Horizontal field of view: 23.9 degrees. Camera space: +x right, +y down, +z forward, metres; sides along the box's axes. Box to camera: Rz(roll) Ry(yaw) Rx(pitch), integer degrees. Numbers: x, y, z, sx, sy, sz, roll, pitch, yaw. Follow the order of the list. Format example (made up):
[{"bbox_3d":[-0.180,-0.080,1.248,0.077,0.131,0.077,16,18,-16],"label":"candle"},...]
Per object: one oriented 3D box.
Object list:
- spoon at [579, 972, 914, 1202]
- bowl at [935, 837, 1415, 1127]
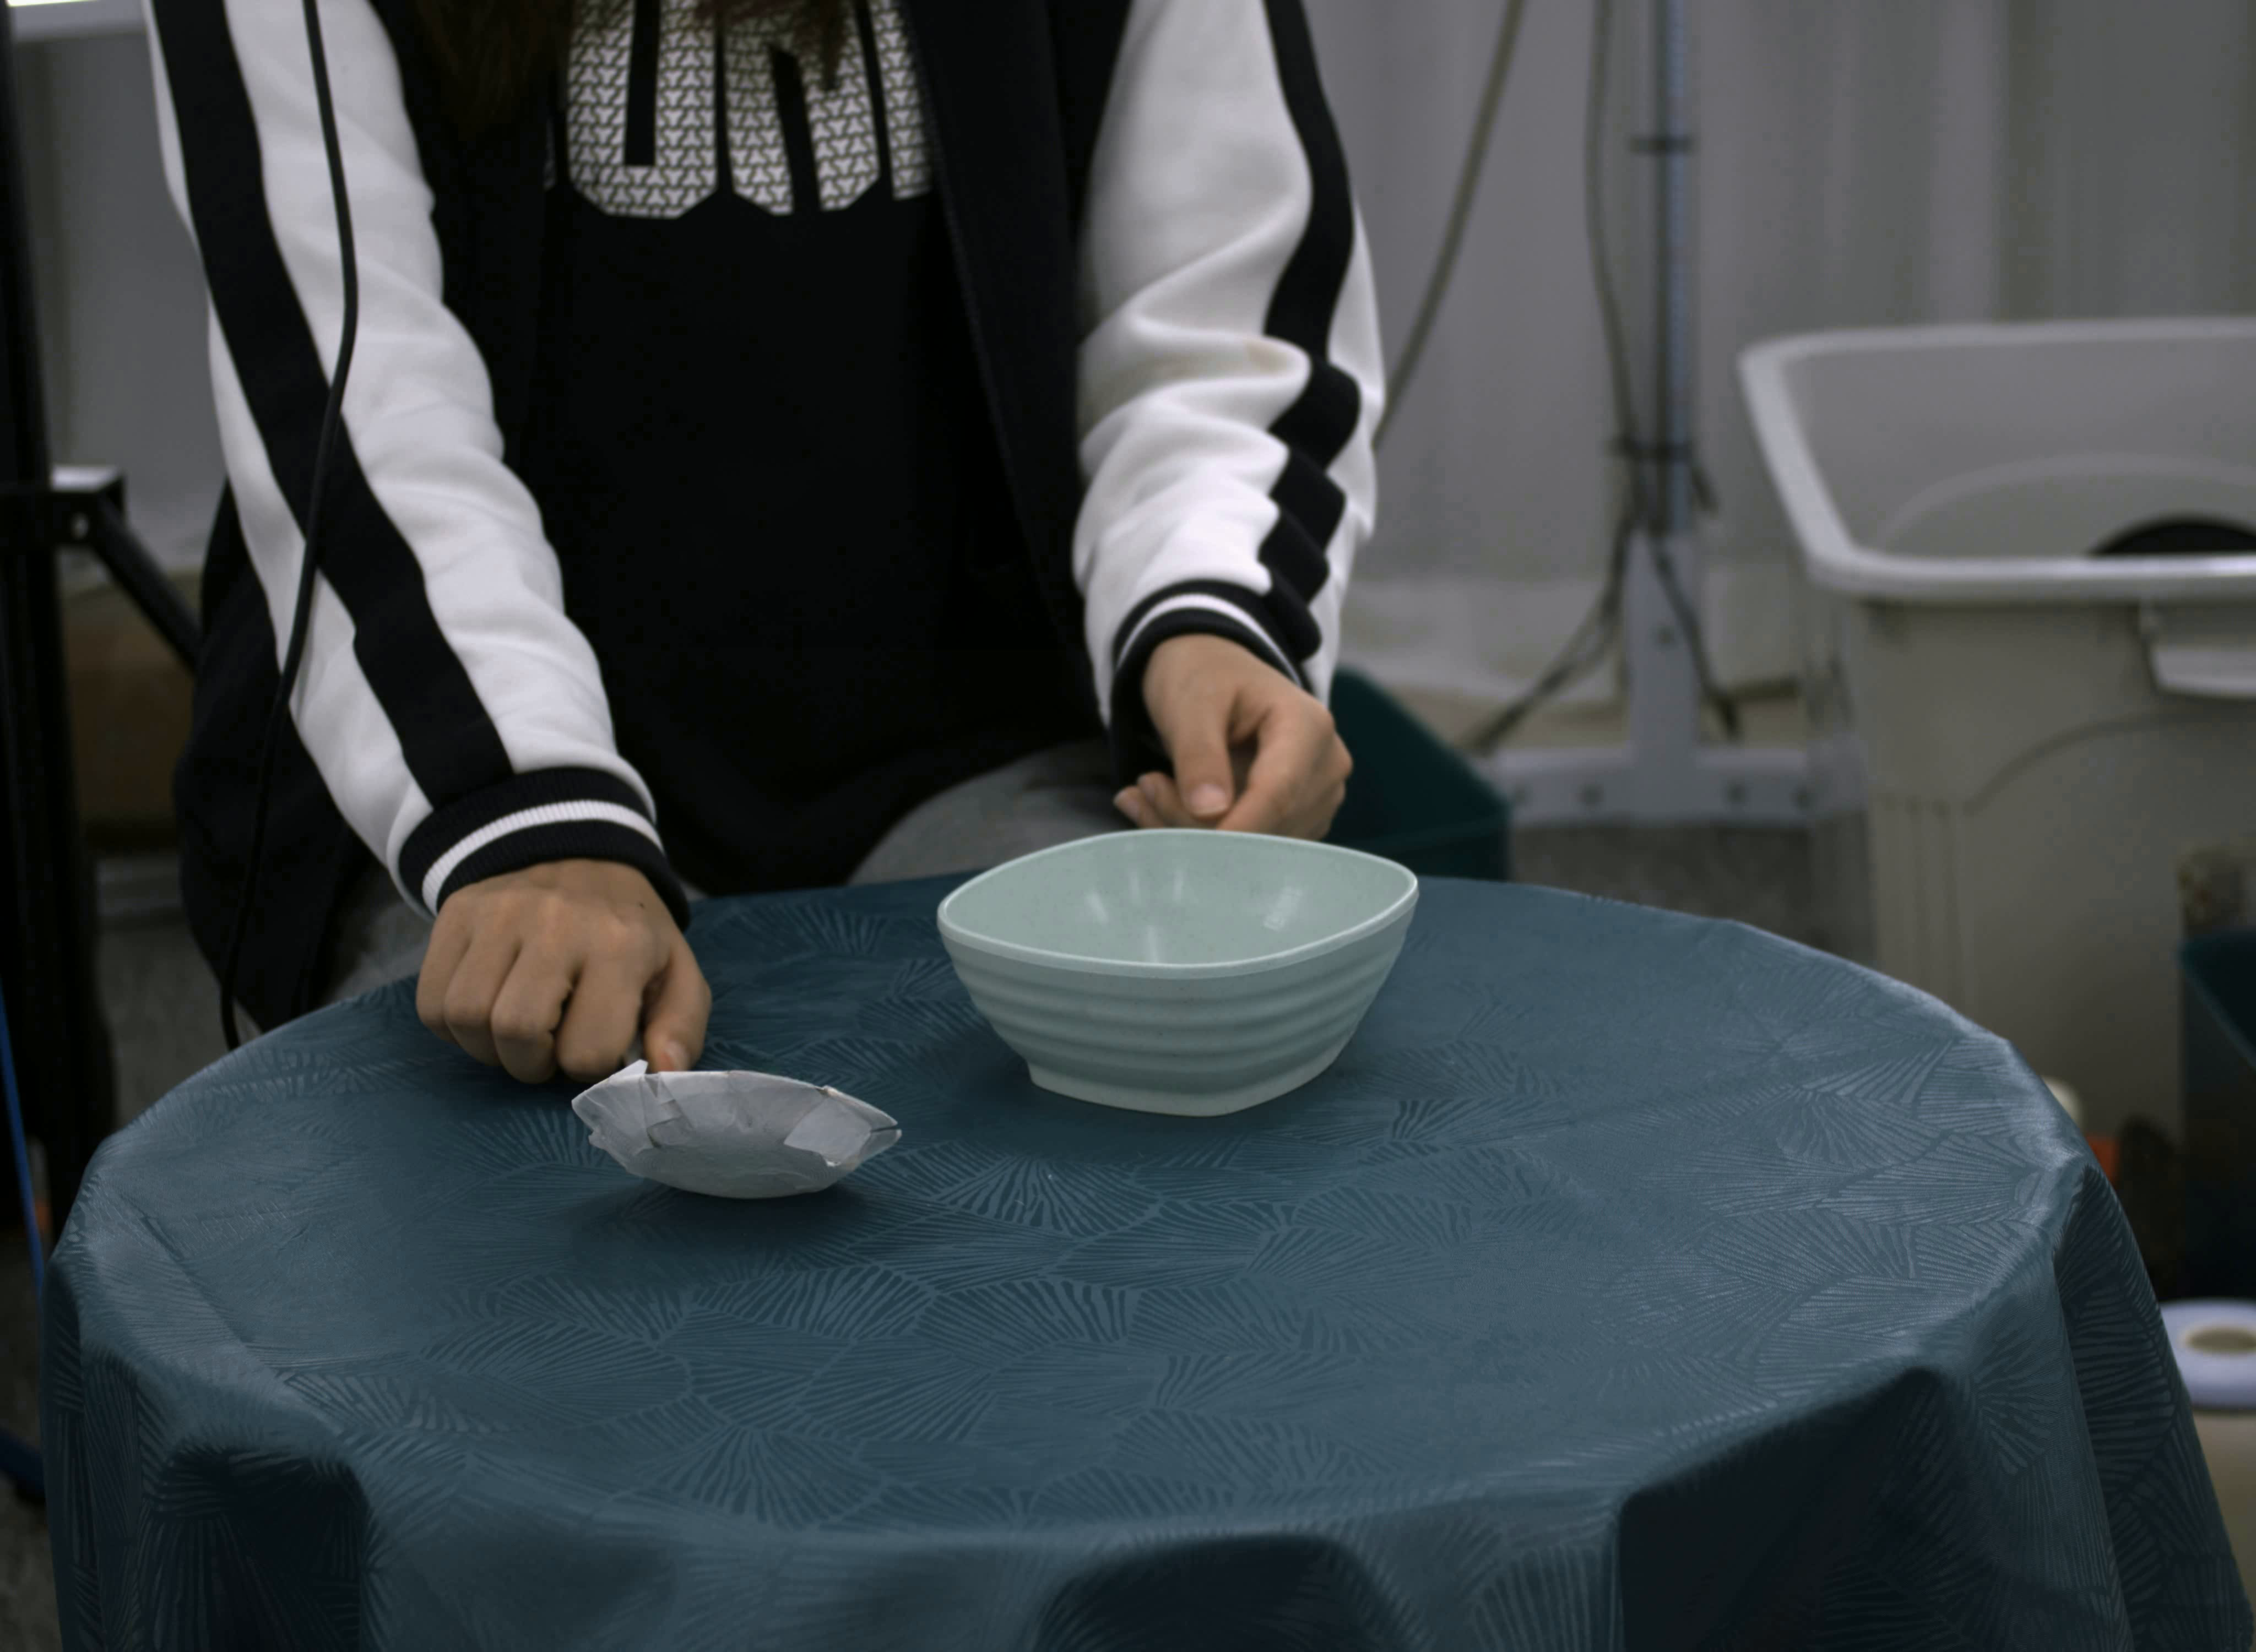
[{"bbox_3d":[-0.127,0.062,1.641,0.099,0.059,0.280,15,11,-13],"label":"spoon"},{"bbox_3d":[0.016,0.052,1.660,0.150,0.058,0.152,-2,15,-1],"label":"bowl"}]
